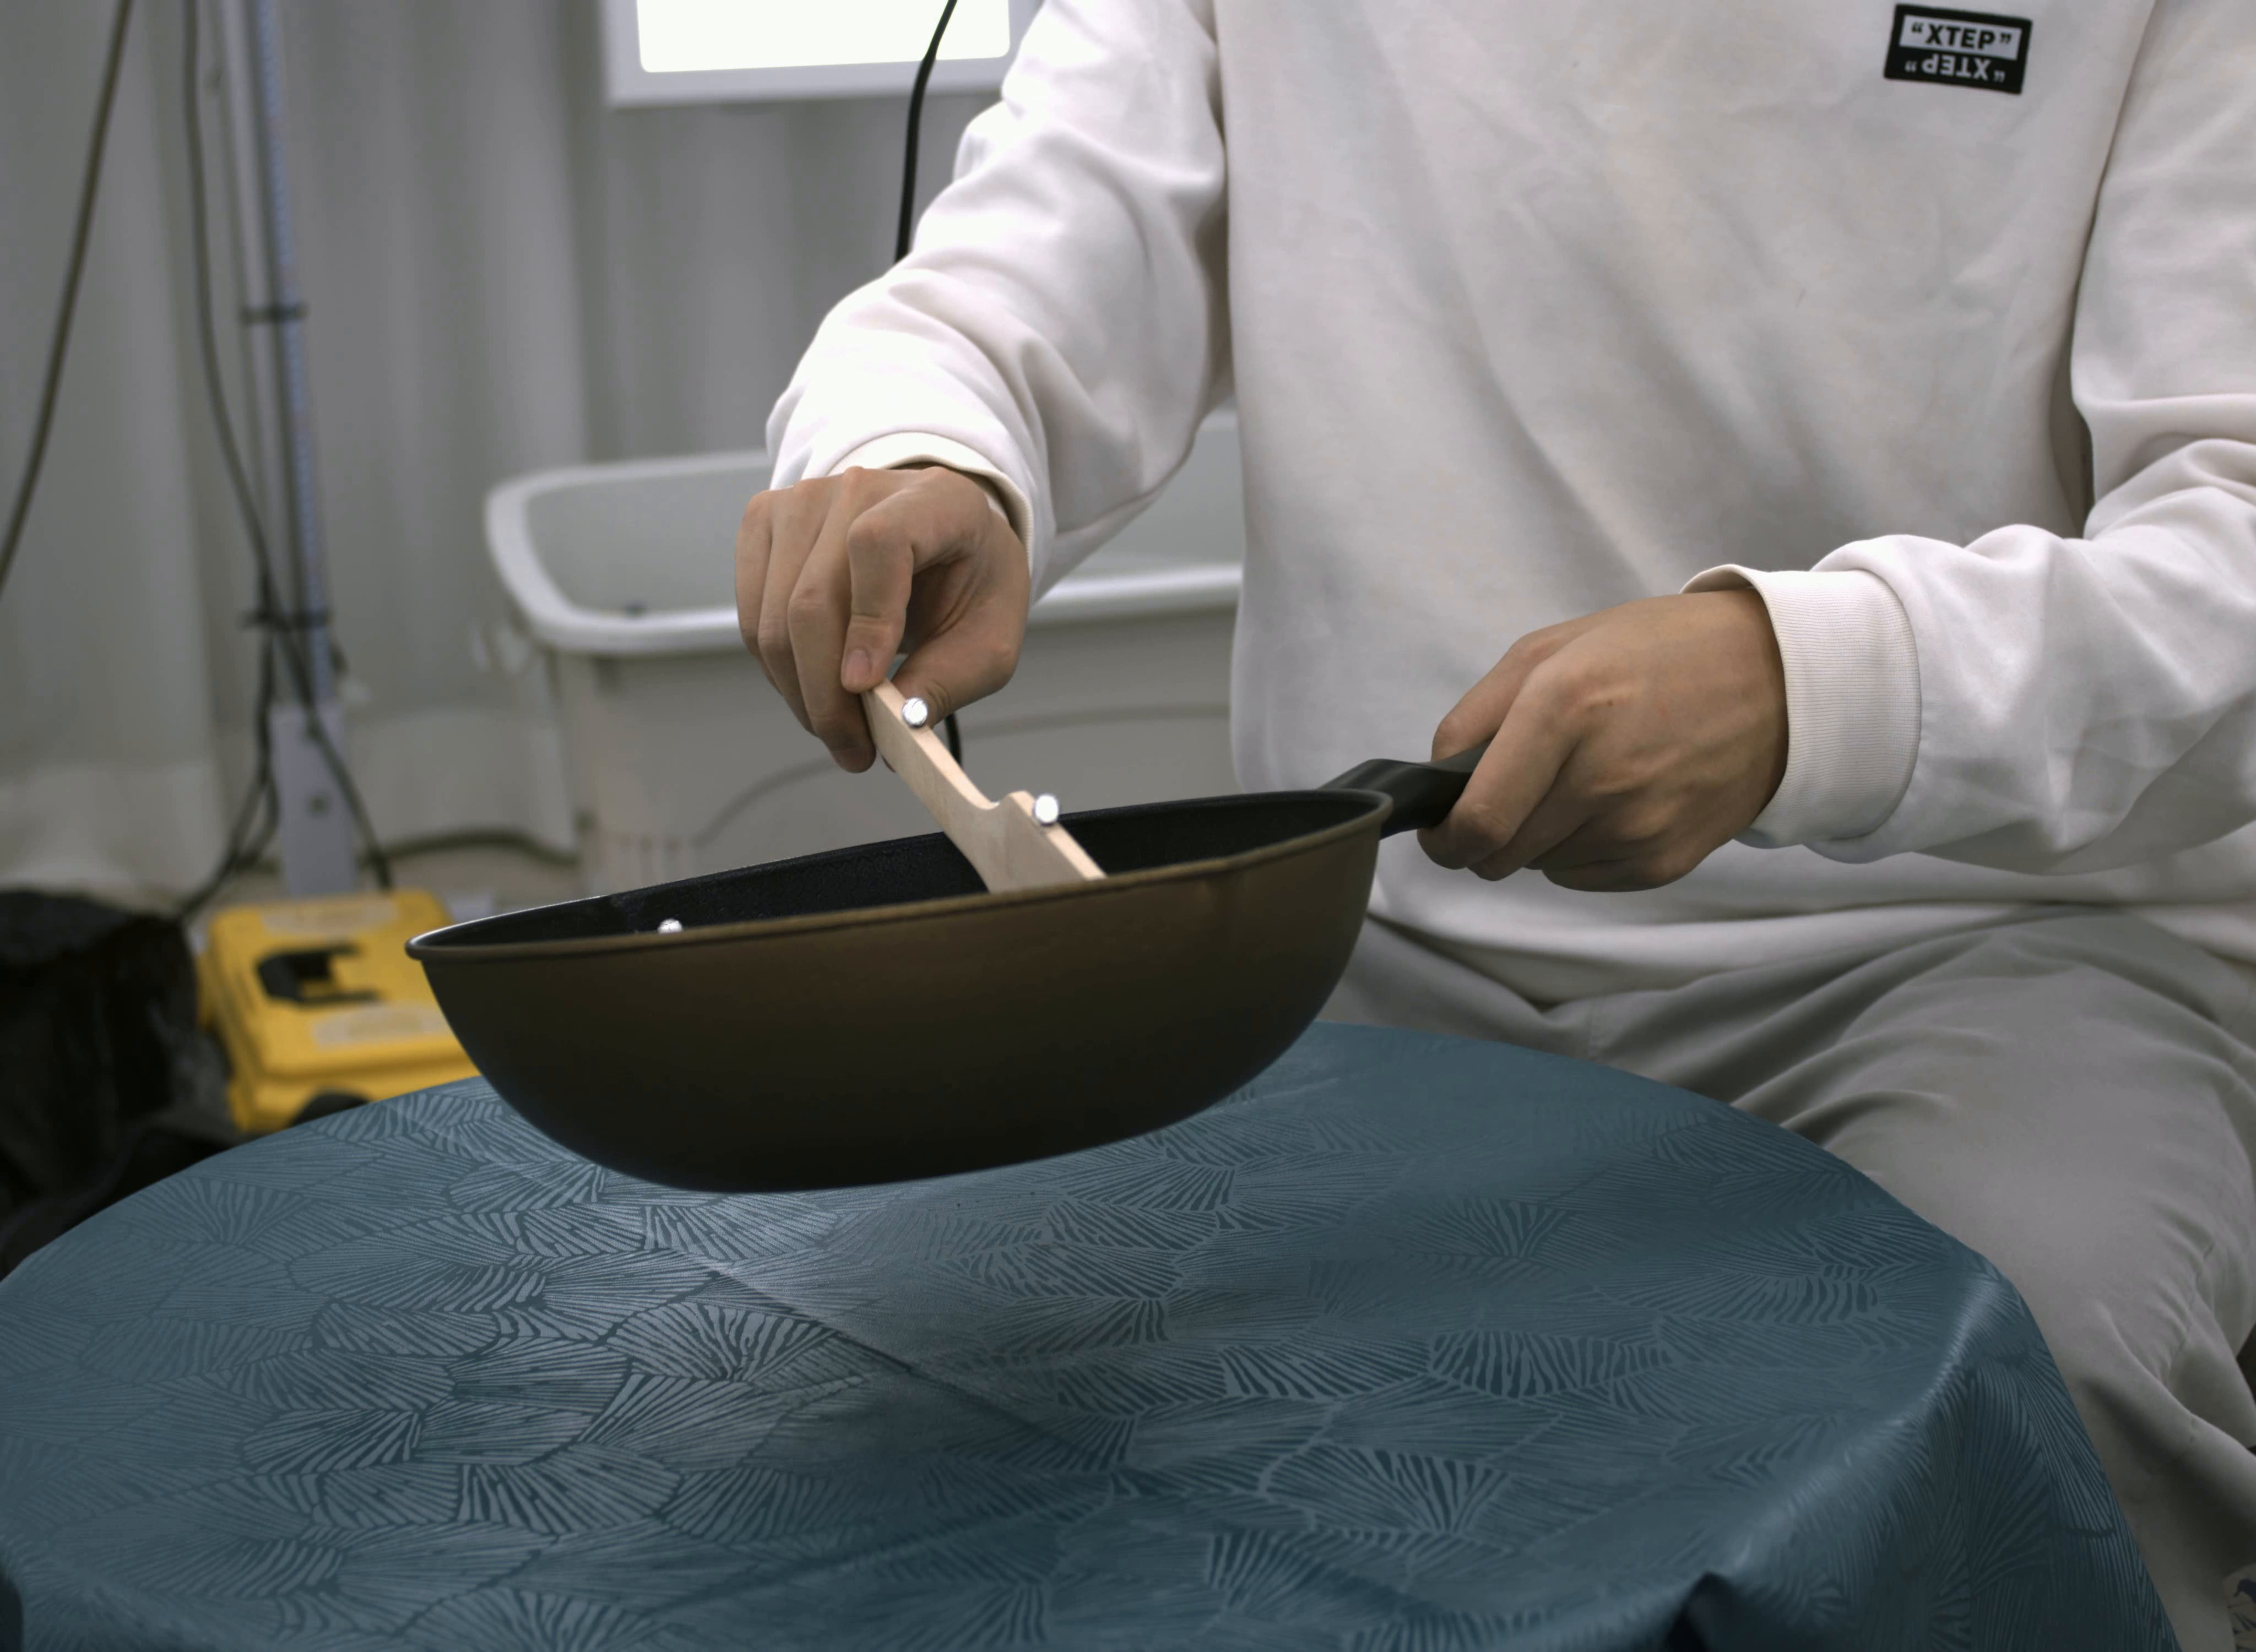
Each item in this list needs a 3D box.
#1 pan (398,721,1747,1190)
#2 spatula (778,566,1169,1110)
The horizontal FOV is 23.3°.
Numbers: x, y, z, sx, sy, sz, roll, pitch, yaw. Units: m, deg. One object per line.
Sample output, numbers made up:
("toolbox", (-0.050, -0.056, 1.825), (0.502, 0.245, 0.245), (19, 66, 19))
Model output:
("pan", (0.010, 0.036, 1.591), (0.461, 0.087, 0.288), (-10, 4, -39))
("spatula", (-0.053, -0.011, 1.634), (0.010, 0.071, 0.297), (-19, 32, -16))
